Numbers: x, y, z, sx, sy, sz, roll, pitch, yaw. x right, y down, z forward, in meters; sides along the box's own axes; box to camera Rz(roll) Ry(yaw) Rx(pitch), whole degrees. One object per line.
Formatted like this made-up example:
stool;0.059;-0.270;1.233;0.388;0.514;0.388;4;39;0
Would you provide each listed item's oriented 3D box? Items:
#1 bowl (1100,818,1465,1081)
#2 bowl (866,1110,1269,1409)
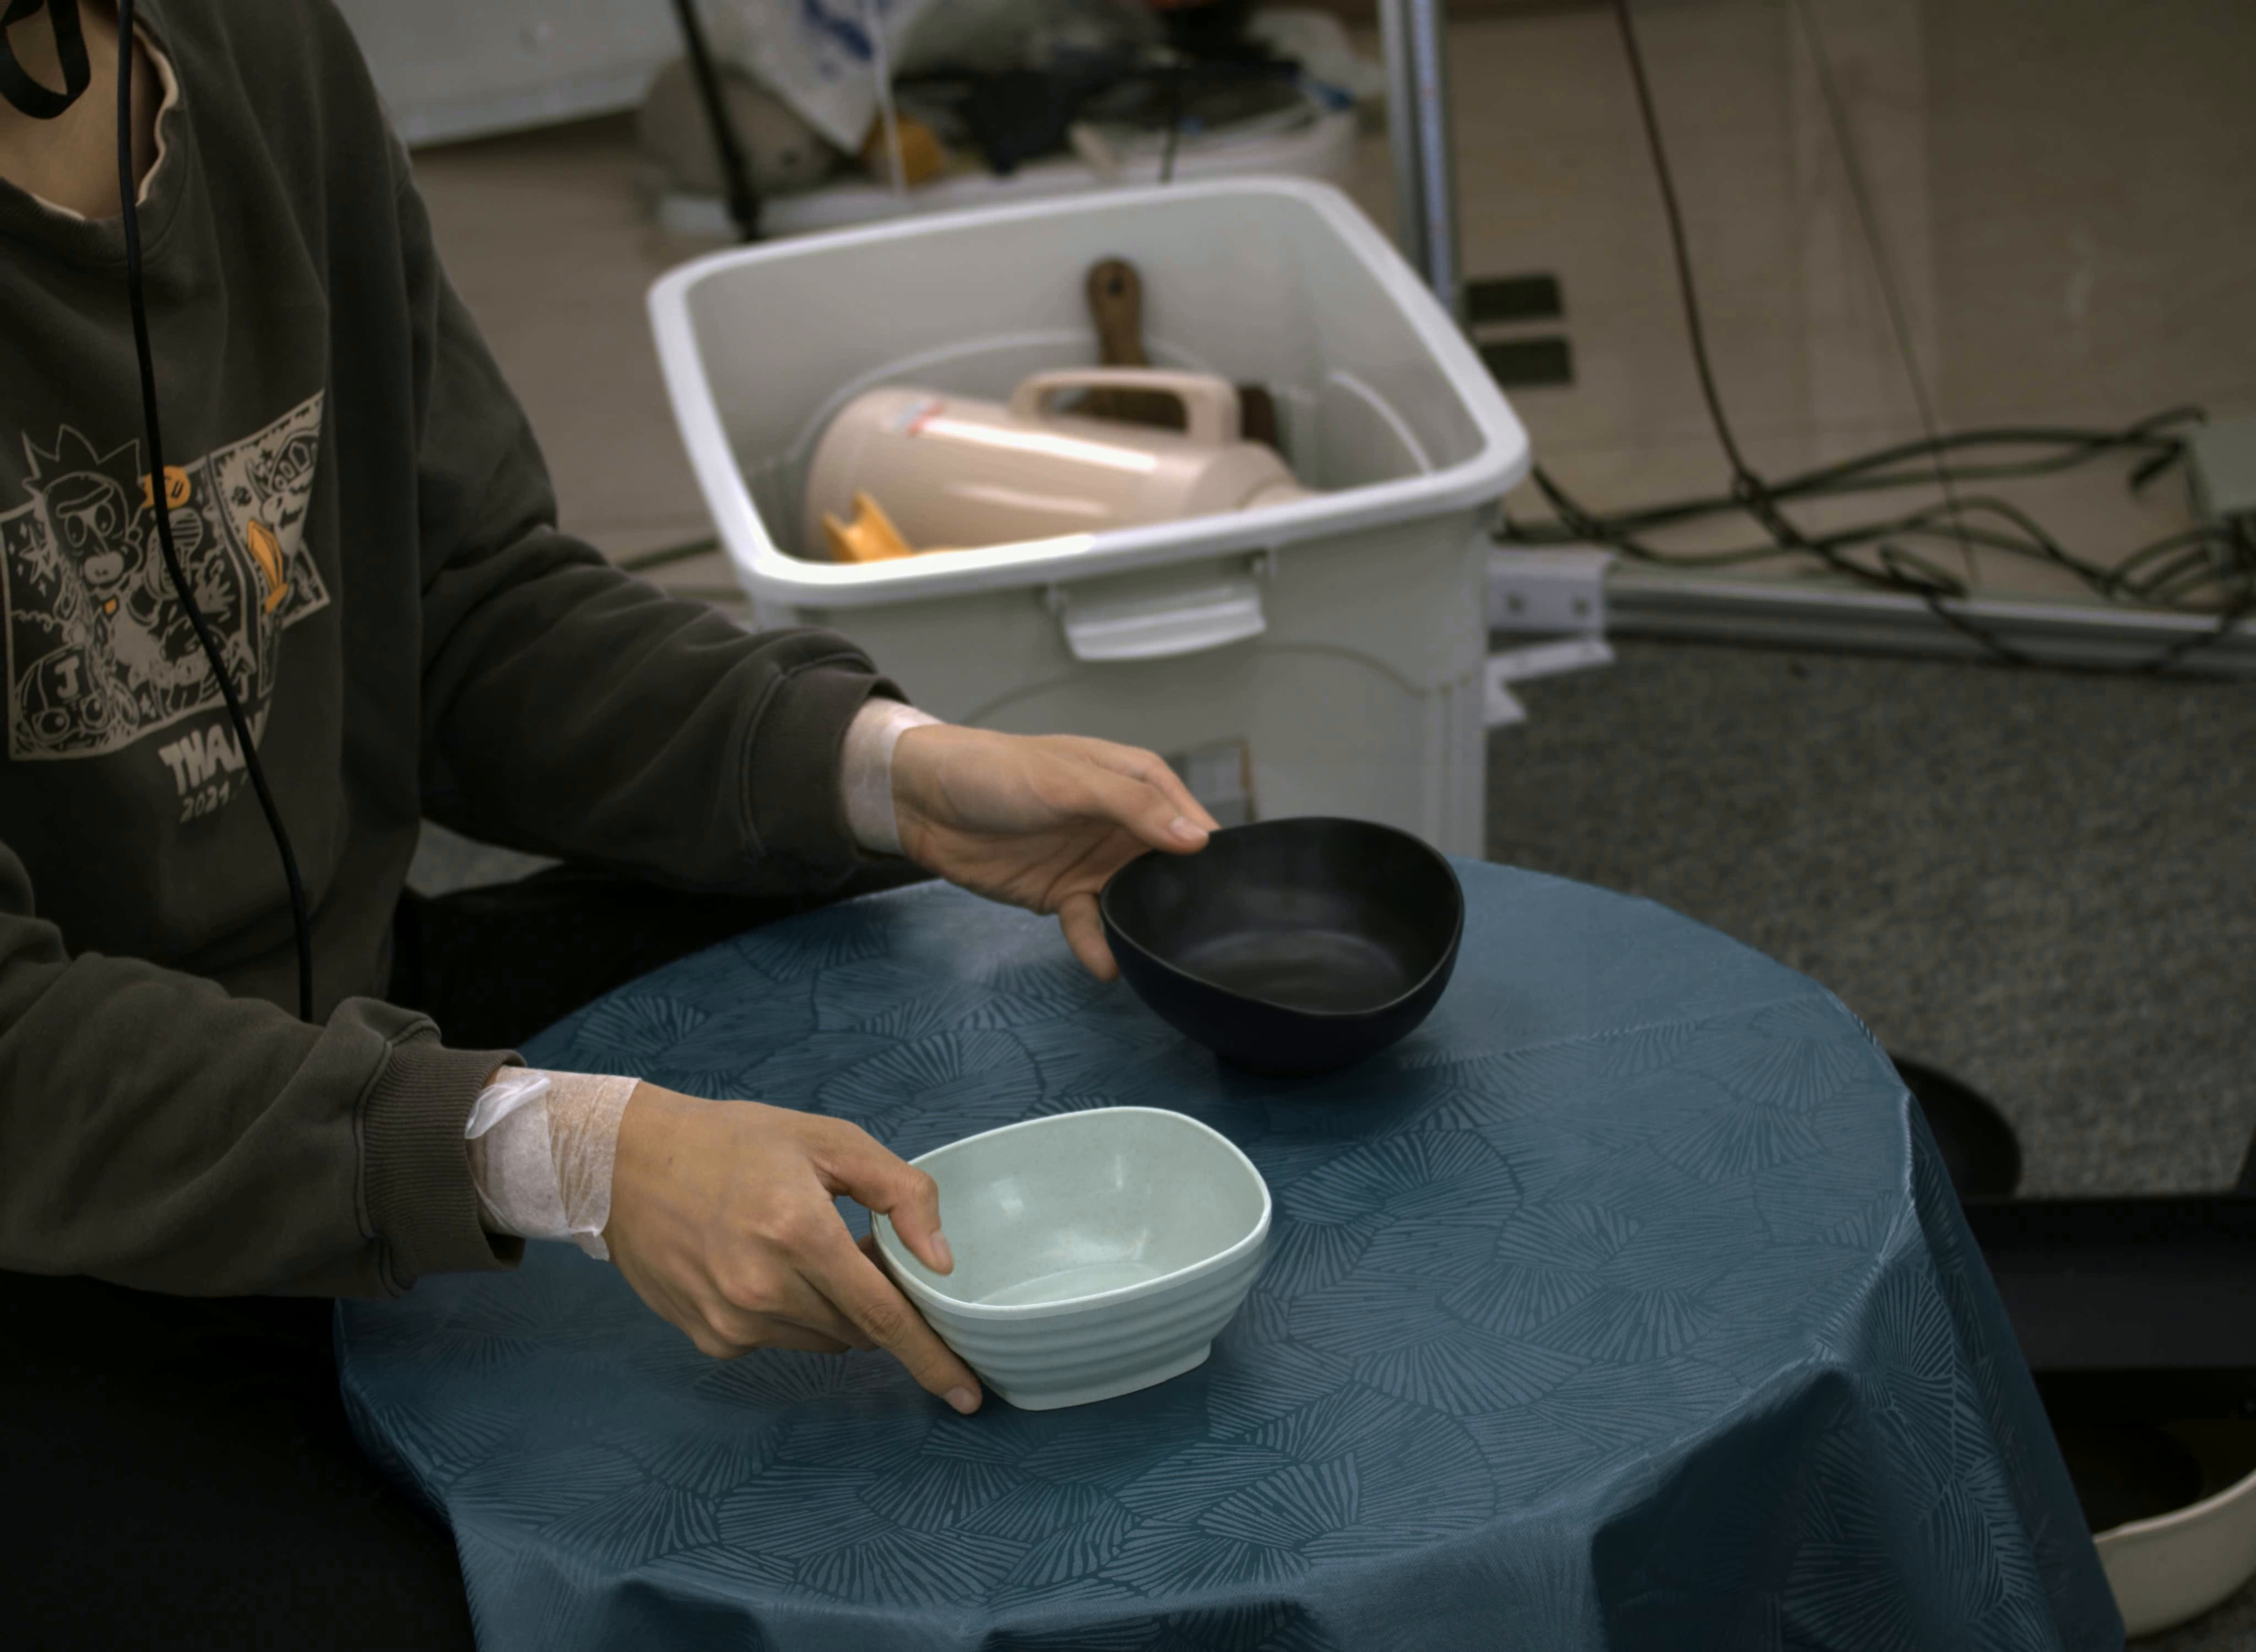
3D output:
bowl;0.064;0.056;2.233;0.137;0.068;0.168;-17;29;-22
bowl;-0.020;0.161;2.036;0.151;0.059;0.149;-4;25;2
